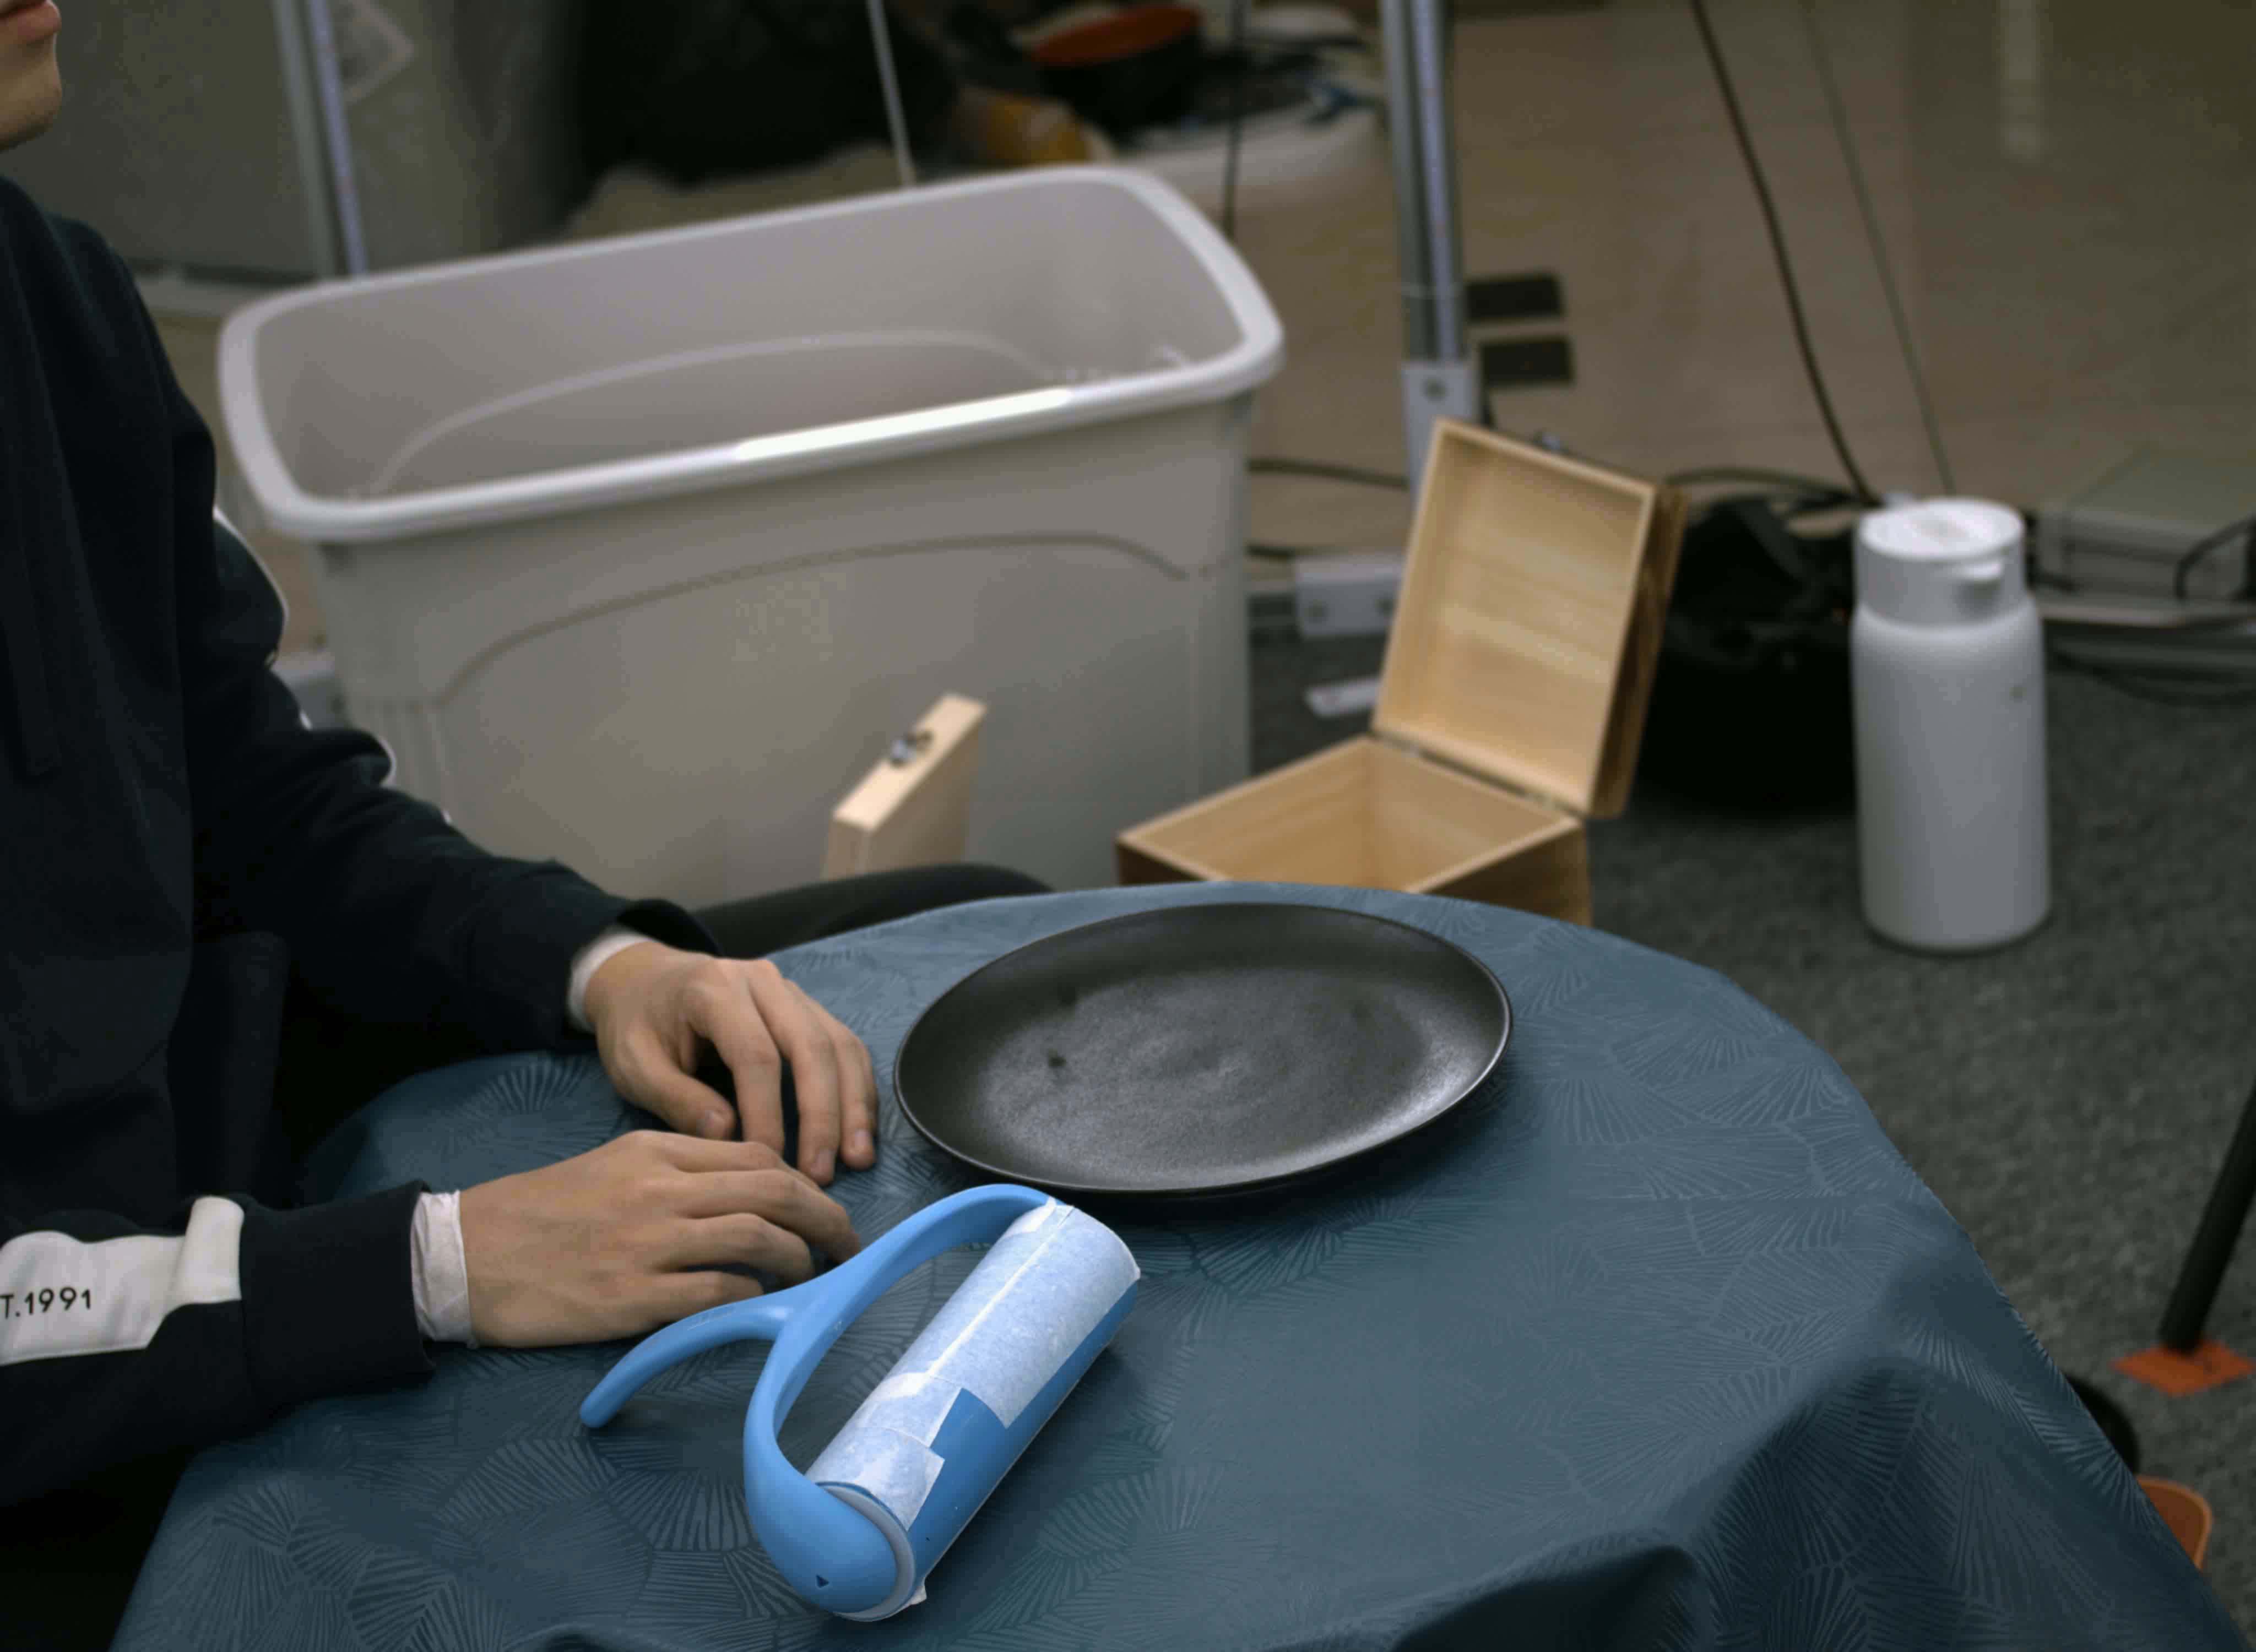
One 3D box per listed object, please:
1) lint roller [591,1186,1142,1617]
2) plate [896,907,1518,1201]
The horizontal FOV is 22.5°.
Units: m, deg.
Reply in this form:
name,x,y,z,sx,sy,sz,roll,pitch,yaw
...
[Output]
name,x,y,z,sx,sy,sz,roll,pitch,yaw
lint roller,-0.111,0.196,1.983,0.180,0.069,0.226,4,28,20
plate,0.031,0.093,2.208,0.244,0.024,0.241,-5,25,3
